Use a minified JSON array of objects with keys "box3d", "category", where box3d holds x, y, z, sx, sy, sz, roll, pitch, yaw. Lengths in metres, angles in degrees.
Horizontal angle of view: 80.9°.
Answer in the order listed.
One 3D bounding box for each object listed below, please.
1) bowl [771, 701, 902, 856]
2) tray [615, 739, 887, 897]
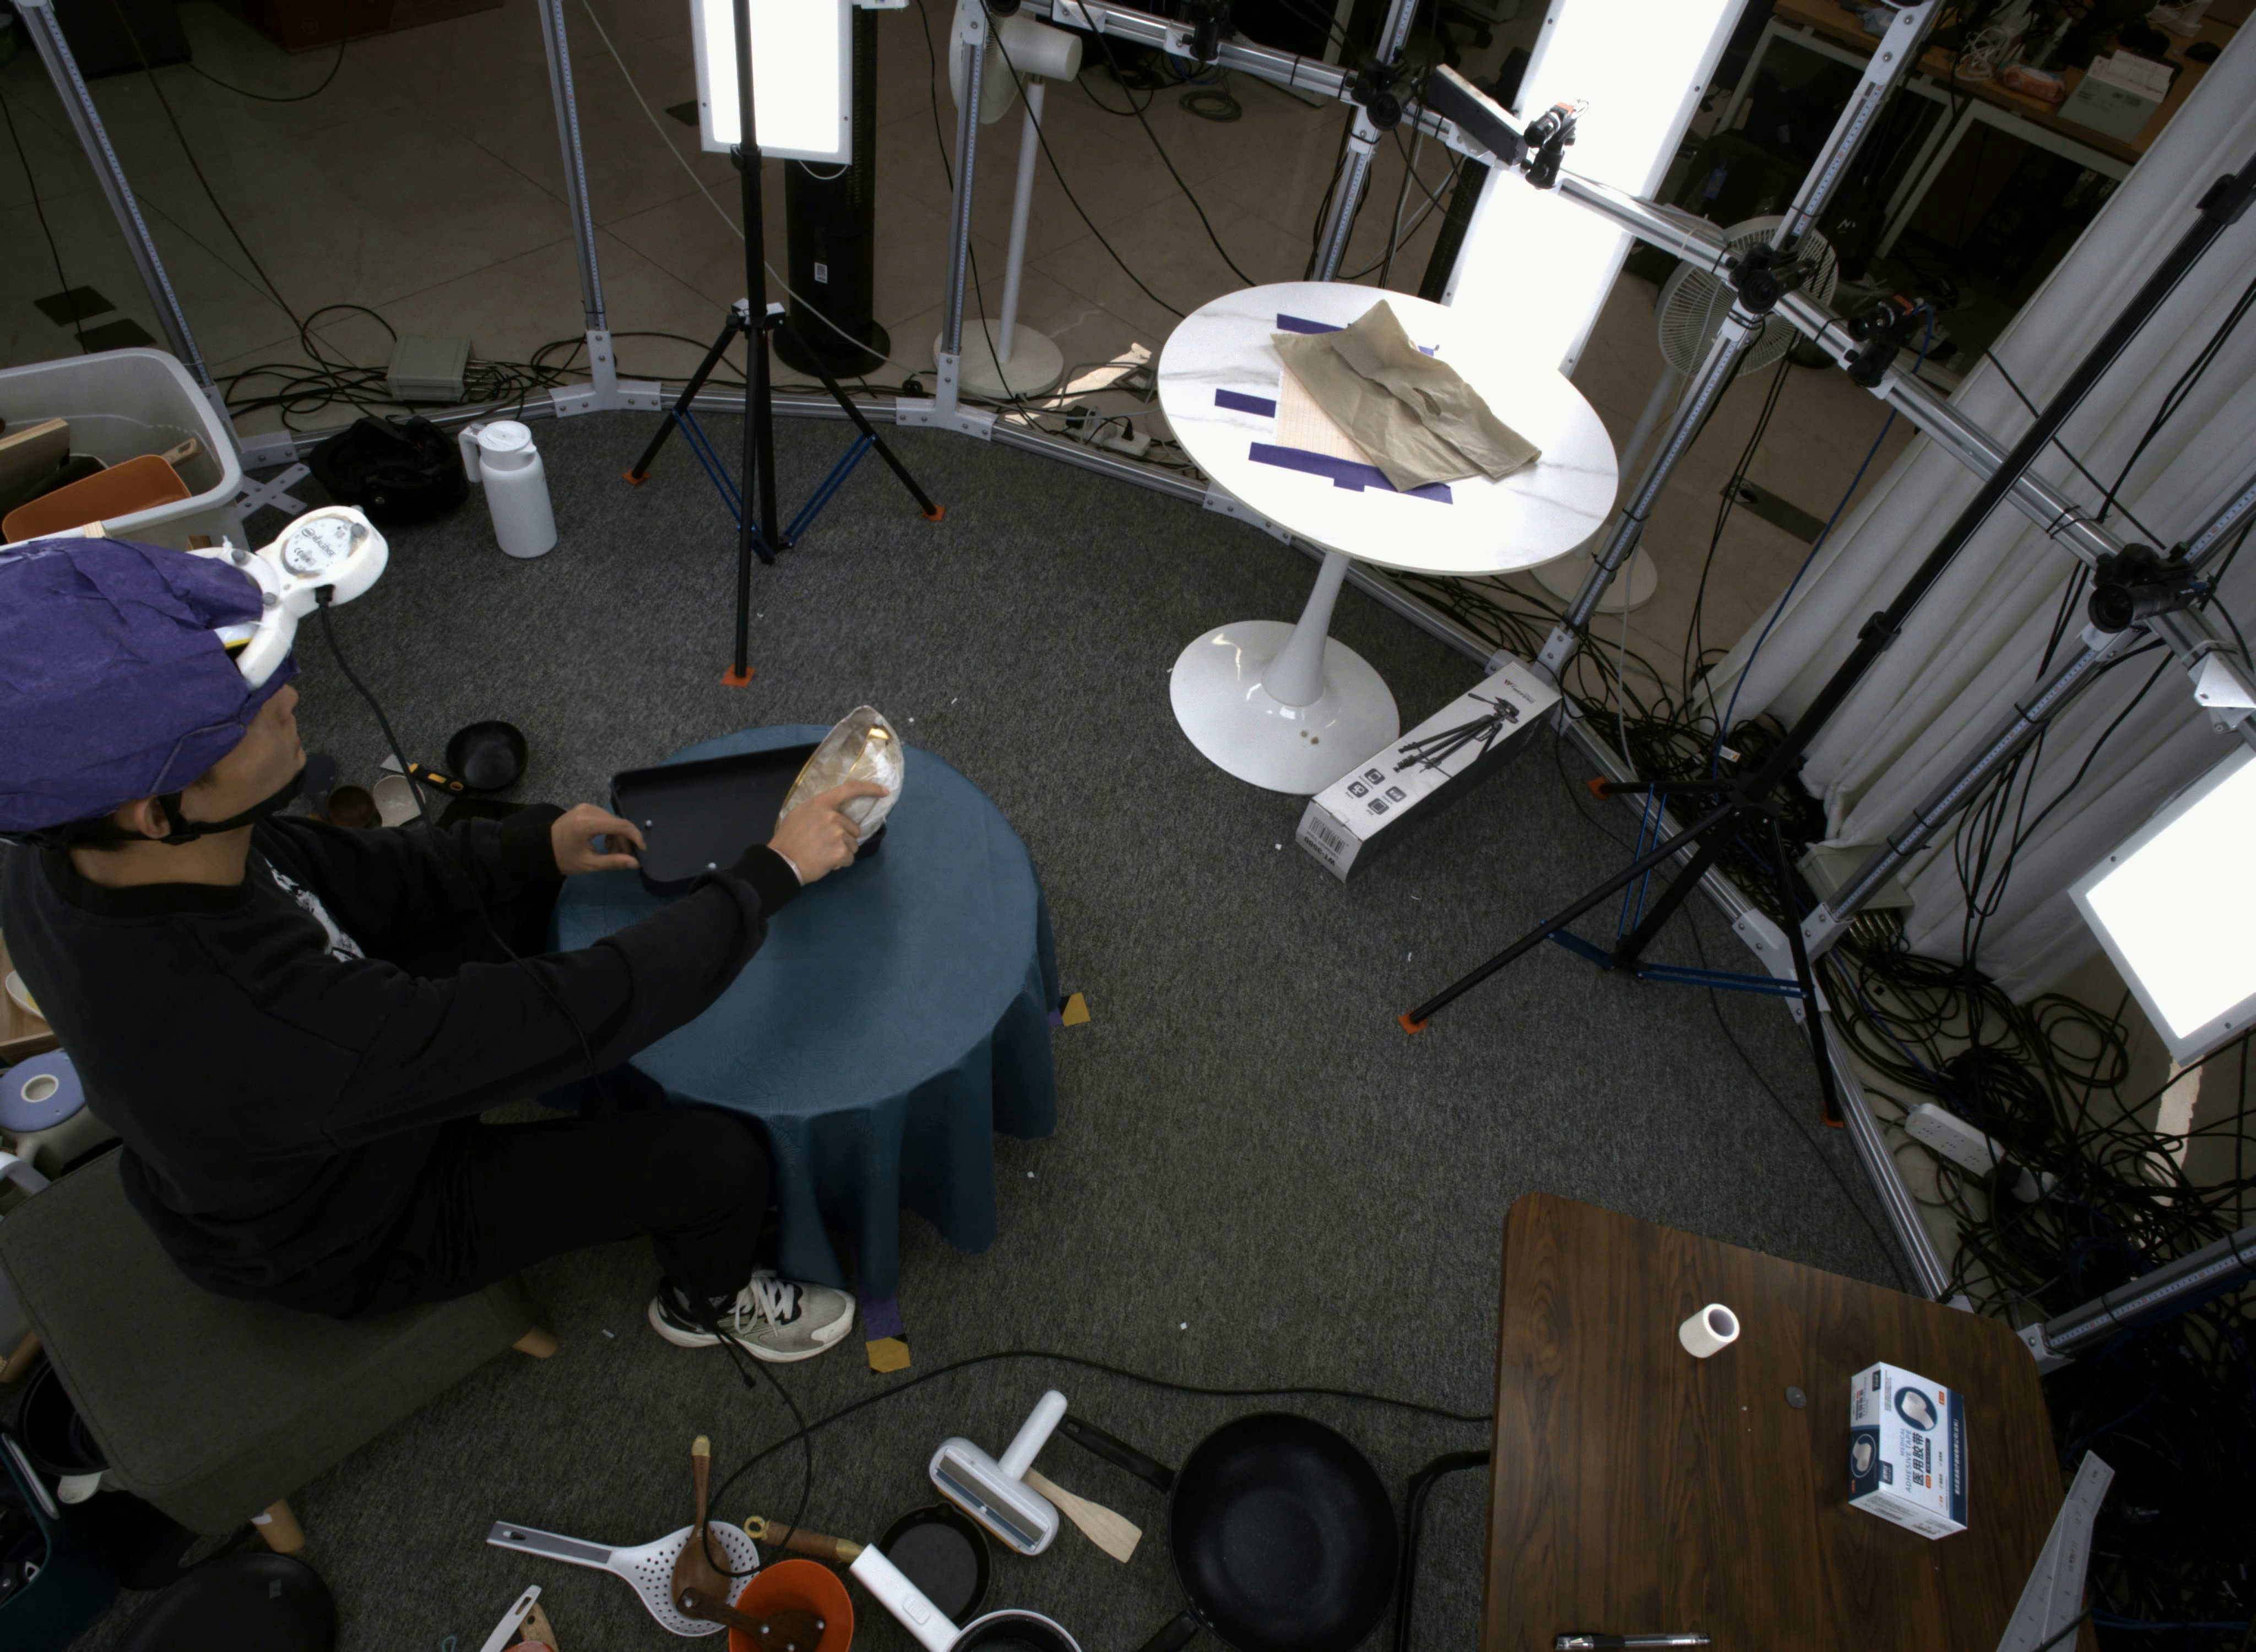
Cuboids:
[{"box3d":[-0.343,-0.040,1.591,0.097,0.212,0.211,36,44,-27],"category":"bowl"},{"box3d":[-0.486,-0.018,1.665,0.321,0.037,0.180,-12,59,-34],"category":"tray"}]
